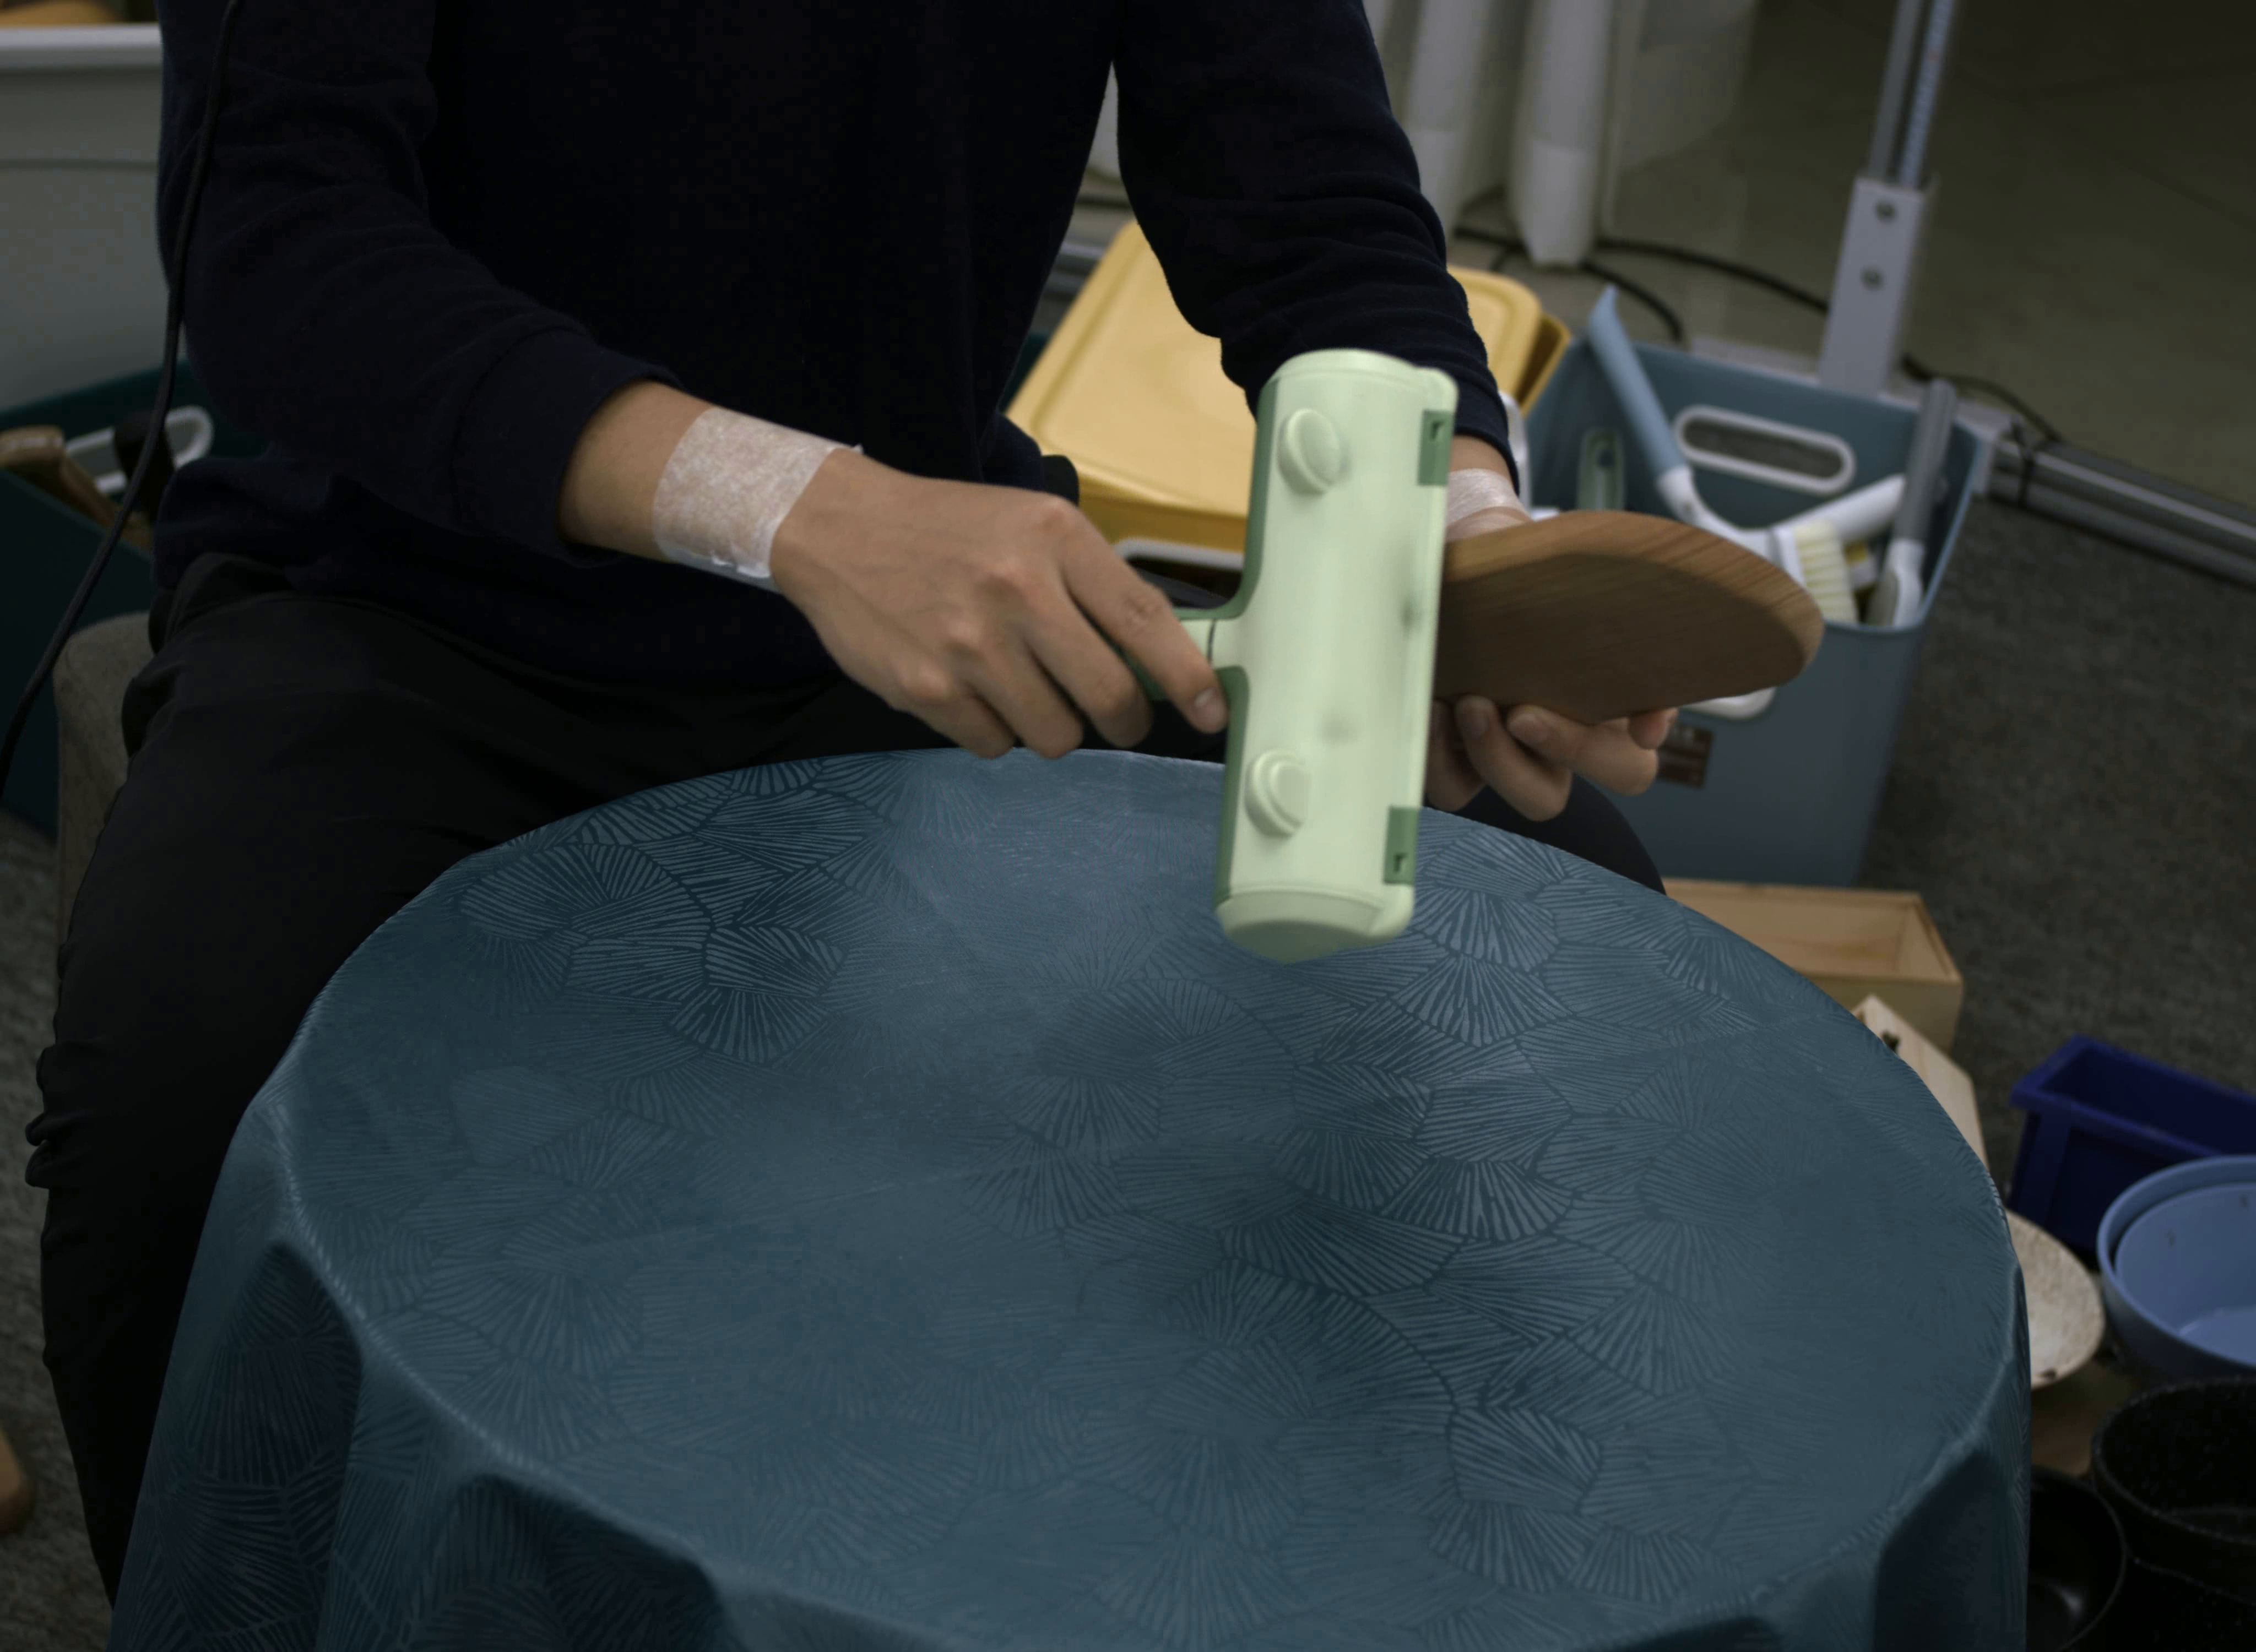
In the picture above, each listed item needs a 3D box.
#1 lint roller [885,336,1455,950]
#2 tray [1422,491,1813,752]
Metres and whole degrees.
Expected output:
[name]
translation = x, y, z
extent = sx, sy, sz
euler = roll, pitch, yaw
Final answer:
[lint roller]
translation = 0.008, -0.064, 1.709
extent = 0.183, 0.200, 0.082
euler = 3, -18, 7
[tray]
translation = 0.130, -0.064, 1.746
extent = 0.101, 0.020, 0.232
euler = 34, -28, -26
